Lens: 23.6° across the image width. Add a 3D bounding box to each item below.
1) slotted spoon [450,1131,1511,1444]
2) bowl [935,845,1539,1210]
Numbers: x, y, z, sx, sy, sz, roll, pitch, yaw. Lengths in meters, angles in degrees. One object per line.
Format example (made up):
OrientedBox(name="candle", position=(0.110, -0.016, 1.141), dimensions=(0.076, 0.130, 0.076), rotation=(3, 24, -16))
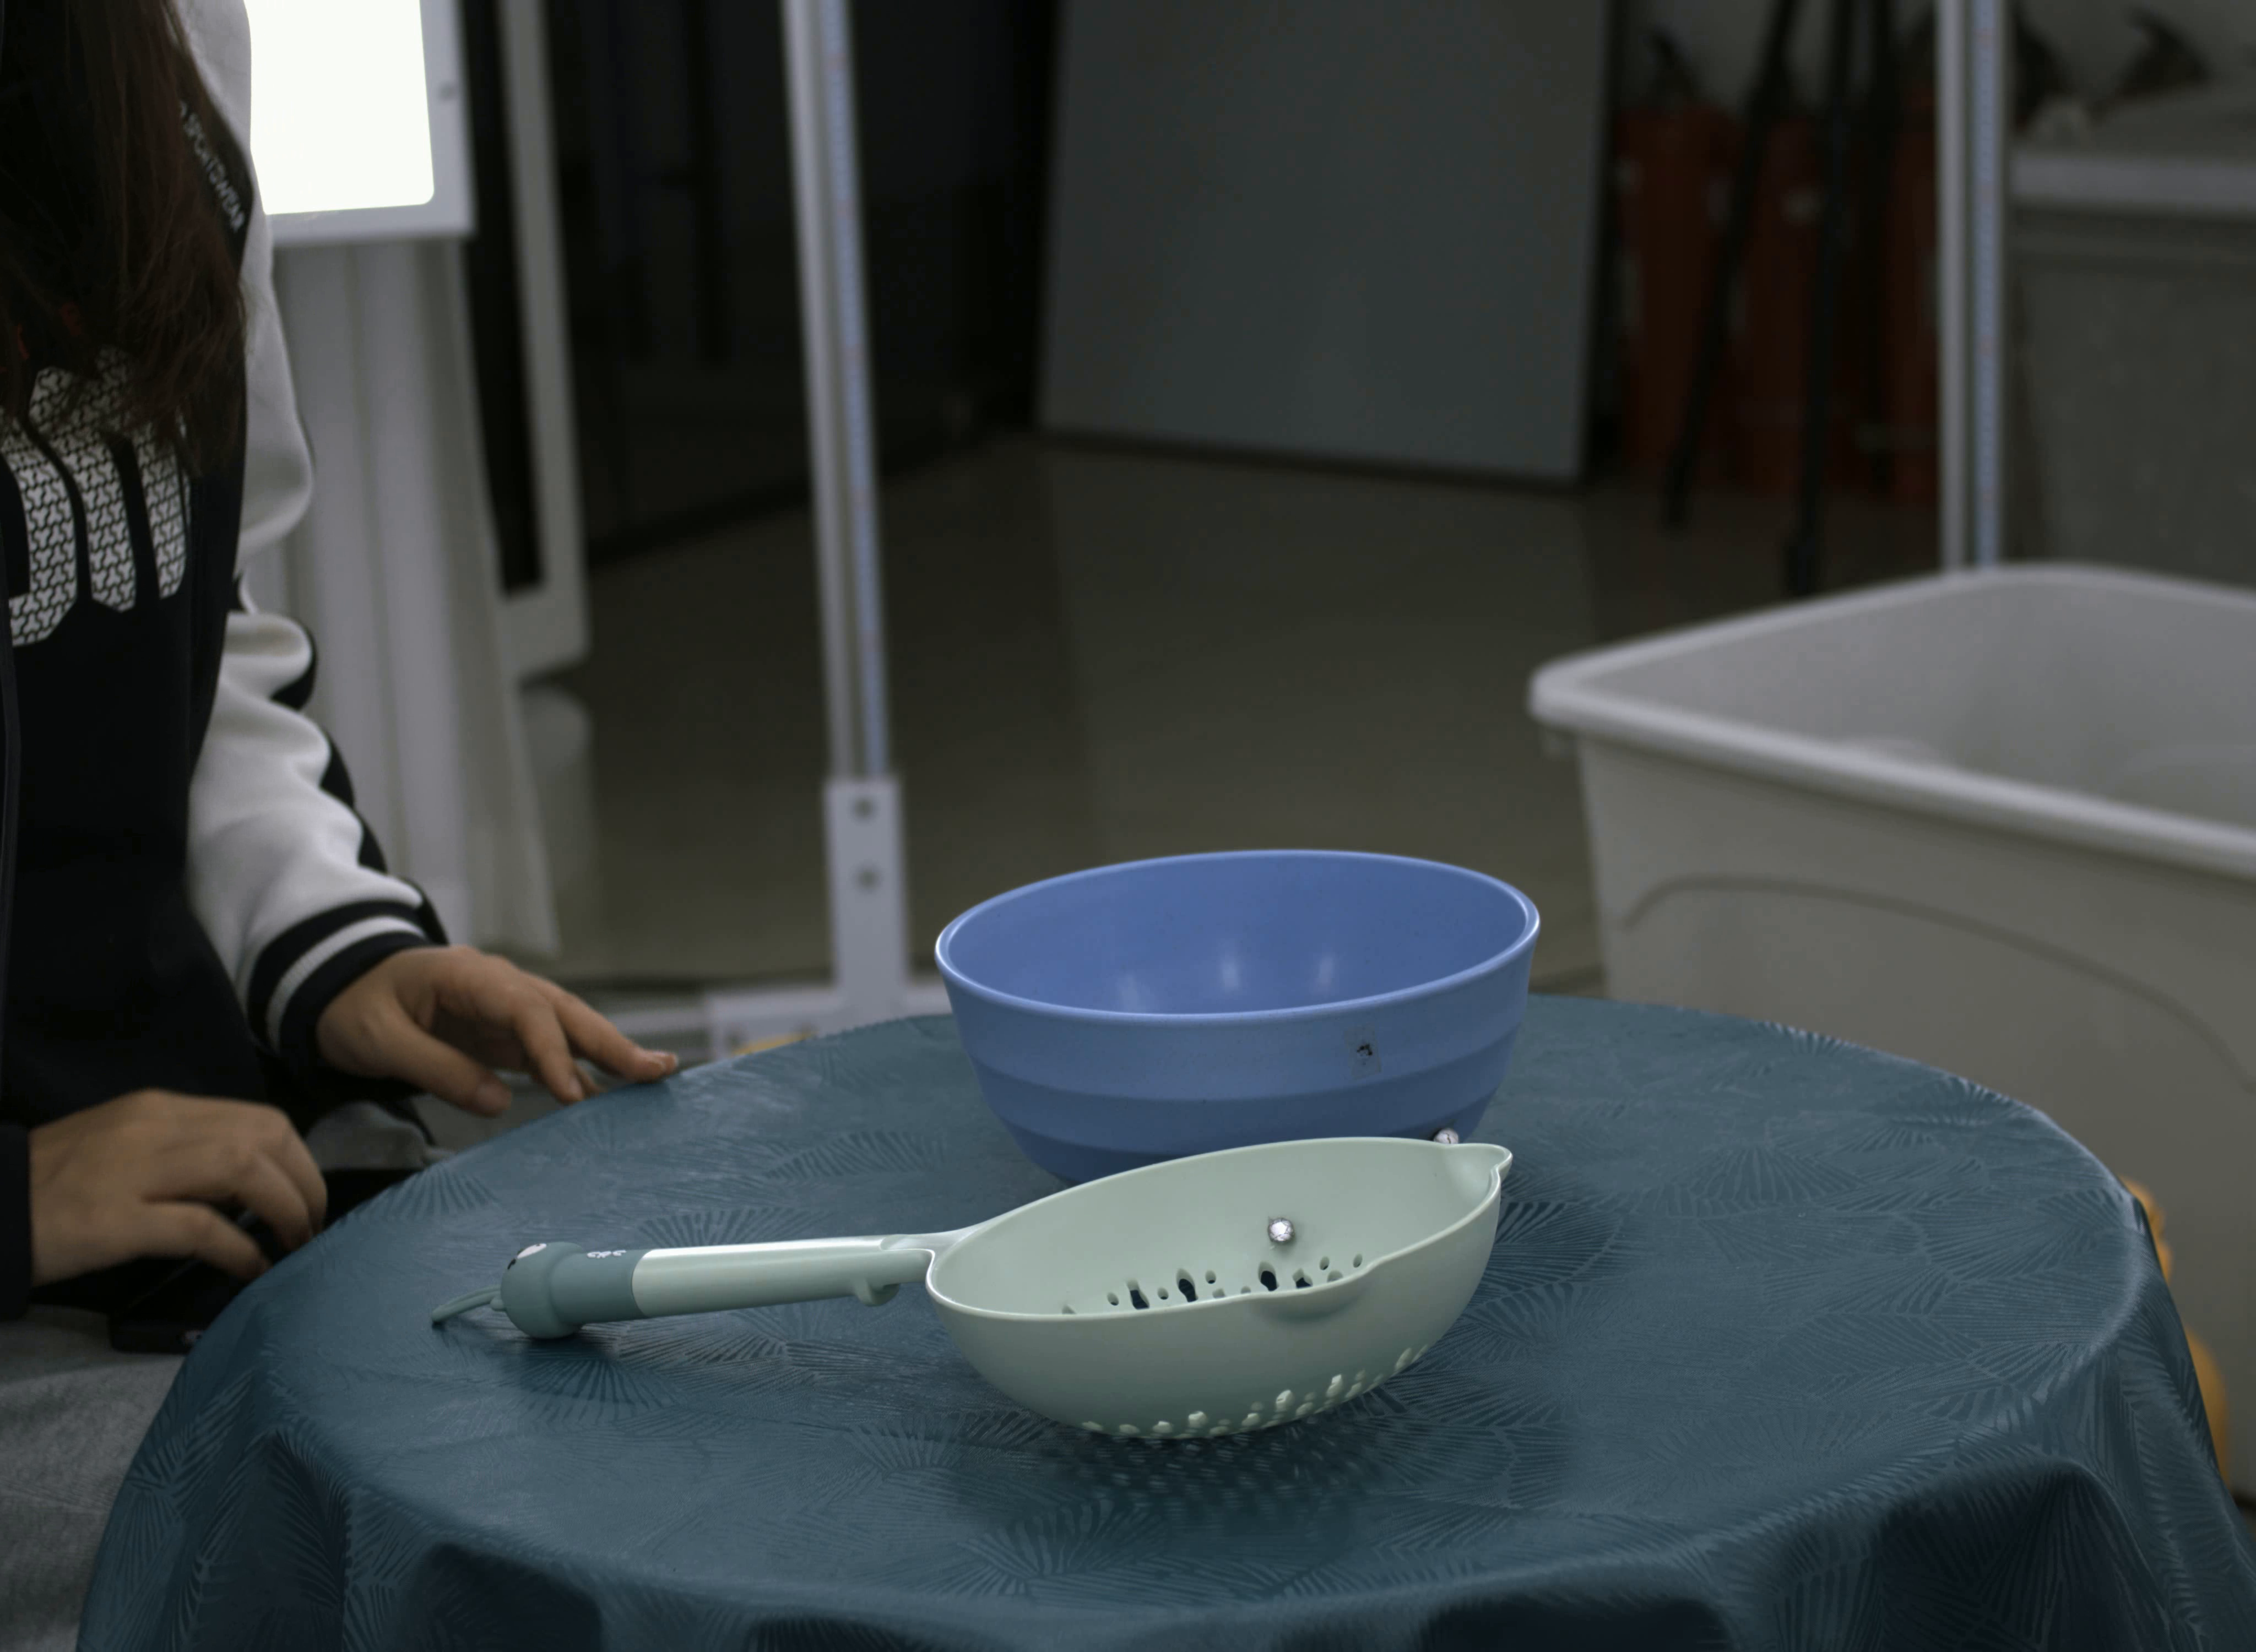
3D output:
OrientedBox(name="slotted spoon", position=(-0.057, 0.137, 1.601), dimensions=(0.360, 0.076, 0.167), rotation=(1, 14, 29))
OrientedBox(name="bowl", position=(0.038, 0.077, 1.737), dimensions=(0.194, 0.096, 0.197), rotation=(-4, 14, 0))
